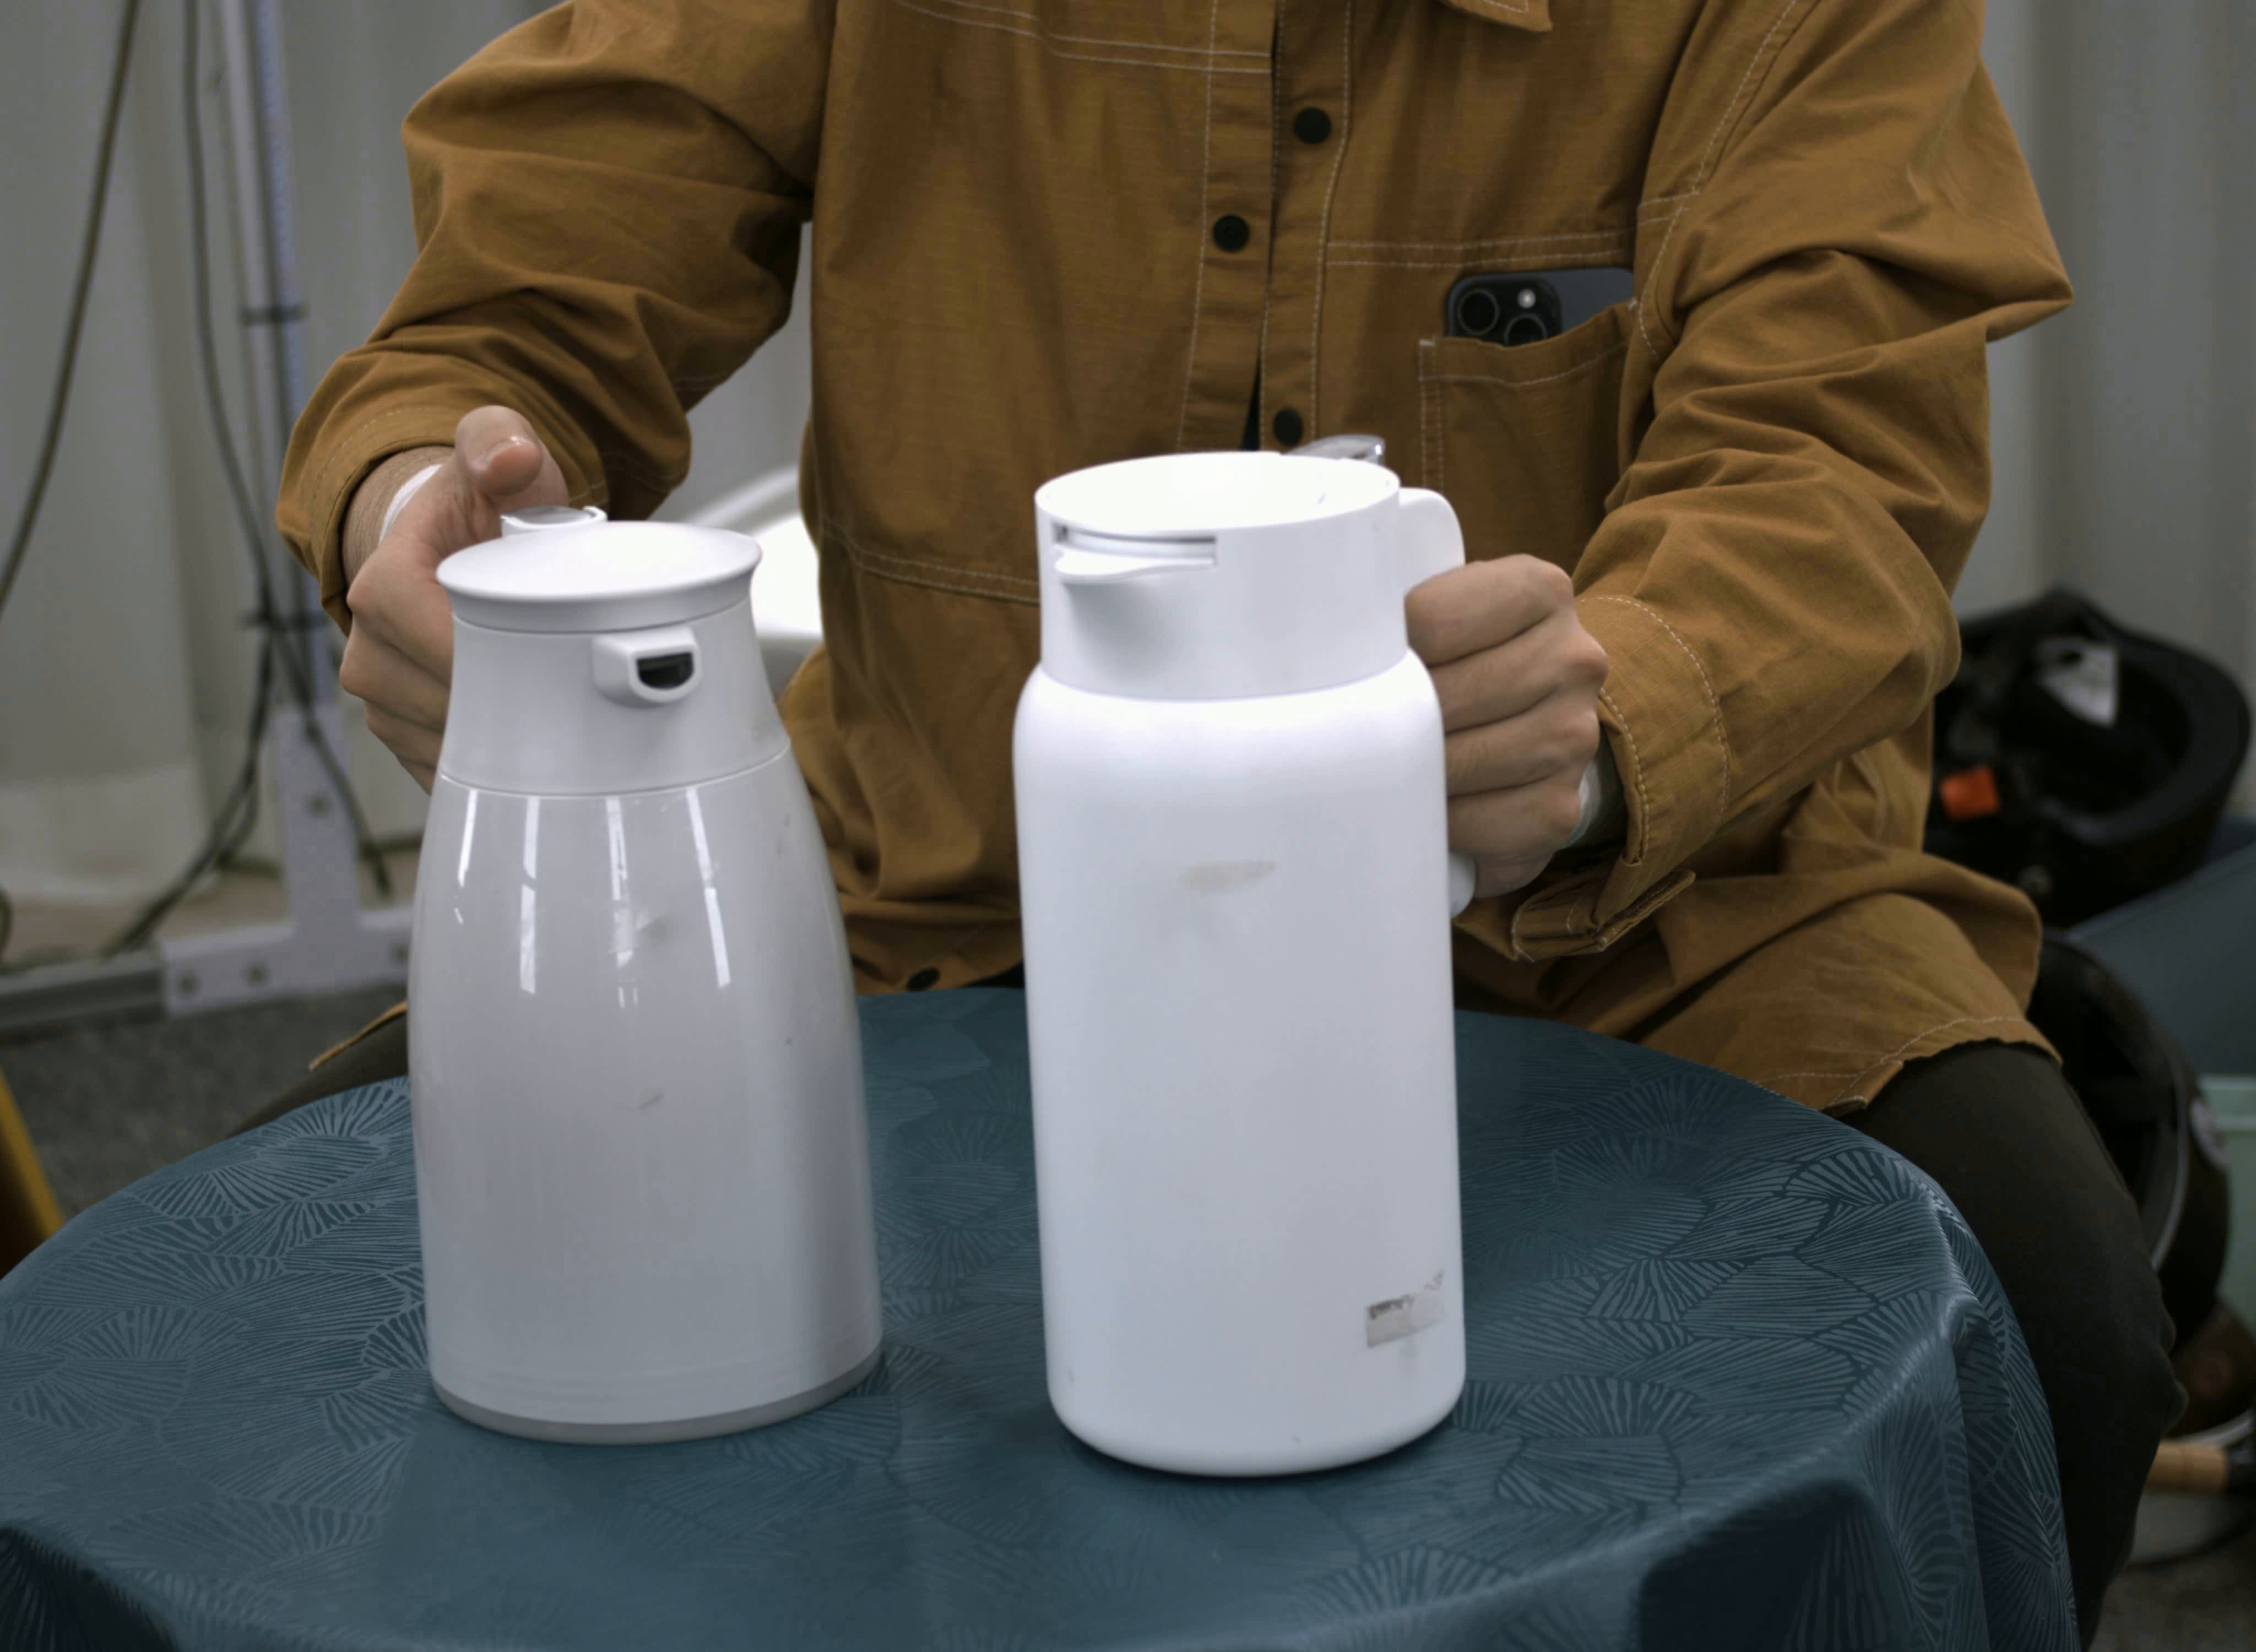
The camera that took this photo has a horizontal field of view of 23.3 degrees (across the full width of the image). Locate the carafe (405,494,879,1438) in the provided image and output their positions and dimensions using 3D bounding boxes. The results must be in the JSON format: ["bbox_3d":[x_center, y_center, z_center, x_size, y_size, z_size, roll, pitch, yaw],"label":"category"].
[{"bbox_3d":[-0.150,0.031,1.572,0.132,0.248,0.169,-7,13,-19],"label":"carafe"}]

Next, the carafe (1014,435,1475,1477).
[{"bbox_3d":[0.039,0.031,1.506,0.124,0.268,0.173,4,15,34],"label":"carafe"}]
